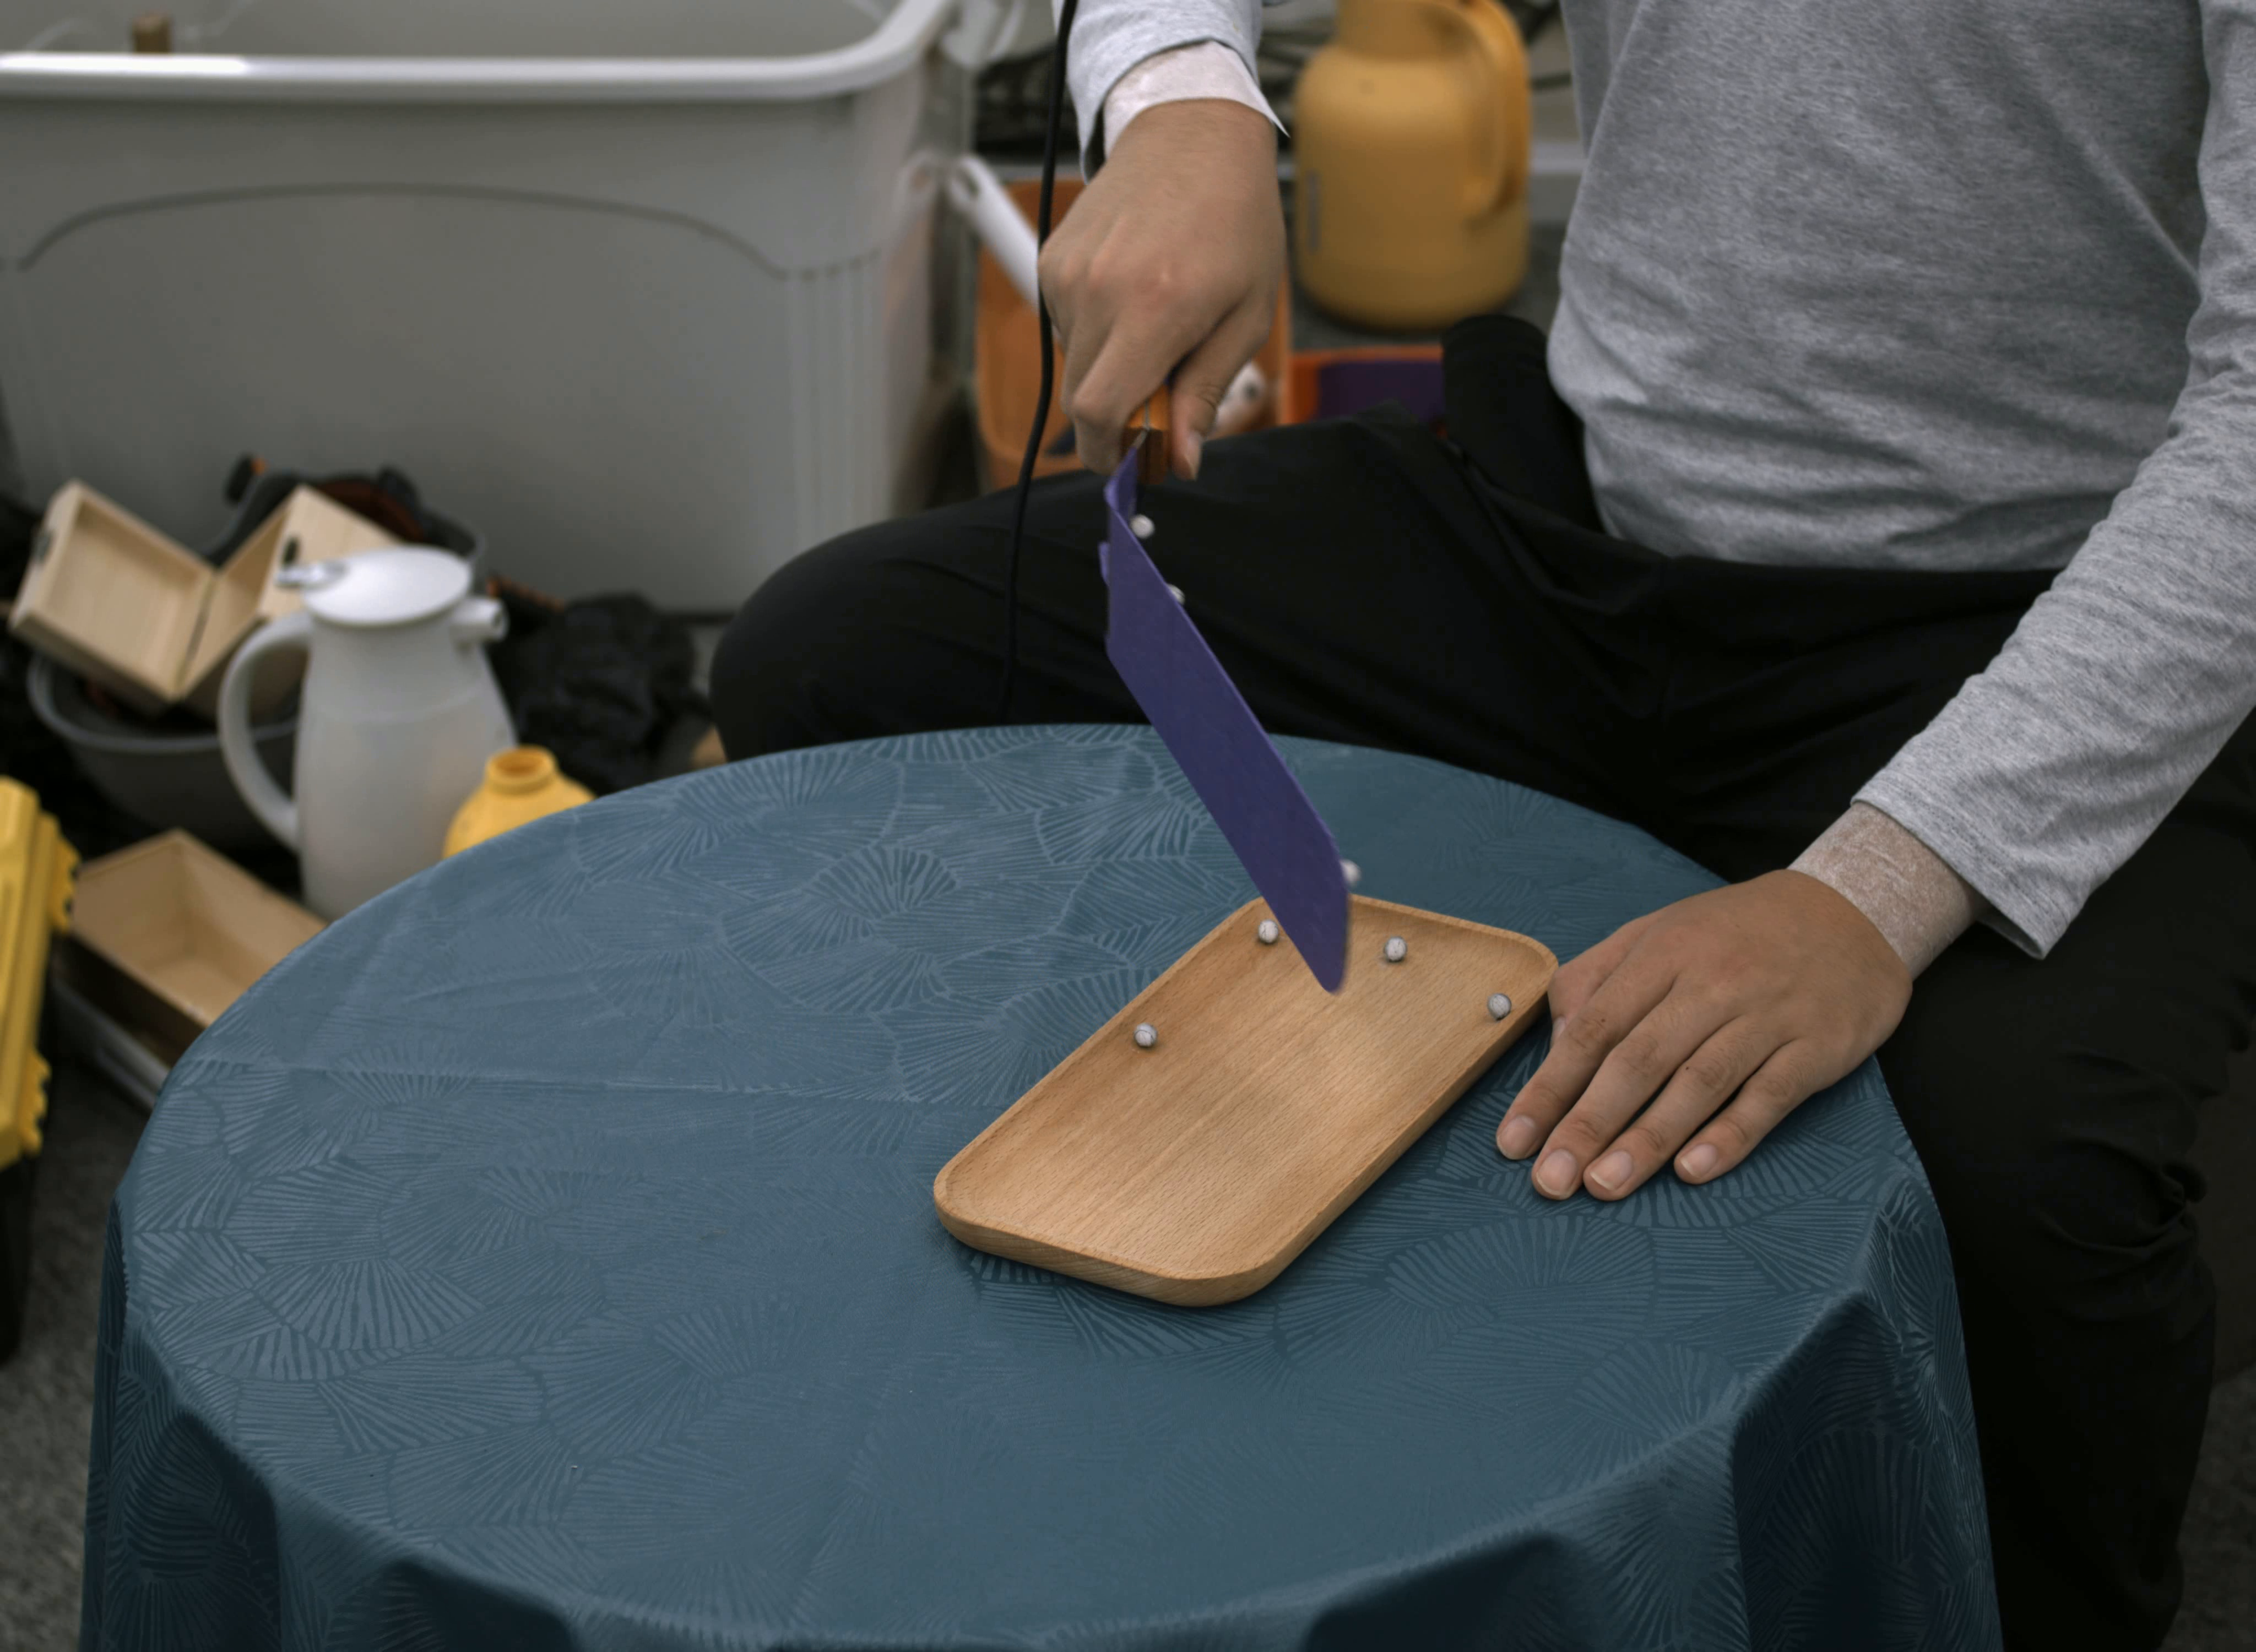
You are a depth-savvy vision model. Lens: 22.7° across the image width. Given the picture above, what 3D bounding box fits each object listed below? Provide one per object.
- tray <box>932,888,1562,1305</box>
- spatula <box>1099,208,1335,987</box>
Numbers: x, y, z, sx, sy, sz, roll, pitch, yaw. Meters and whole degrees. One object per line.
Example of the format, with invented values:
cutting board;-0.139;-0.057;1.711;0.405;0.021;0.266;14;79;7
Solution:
tray;0.044;0.089;1.905;0.130;0.022;0.255;10;31;30
spatula;0.031;-0.091;1.962;0.086;0.074;0.366;3;44;0
